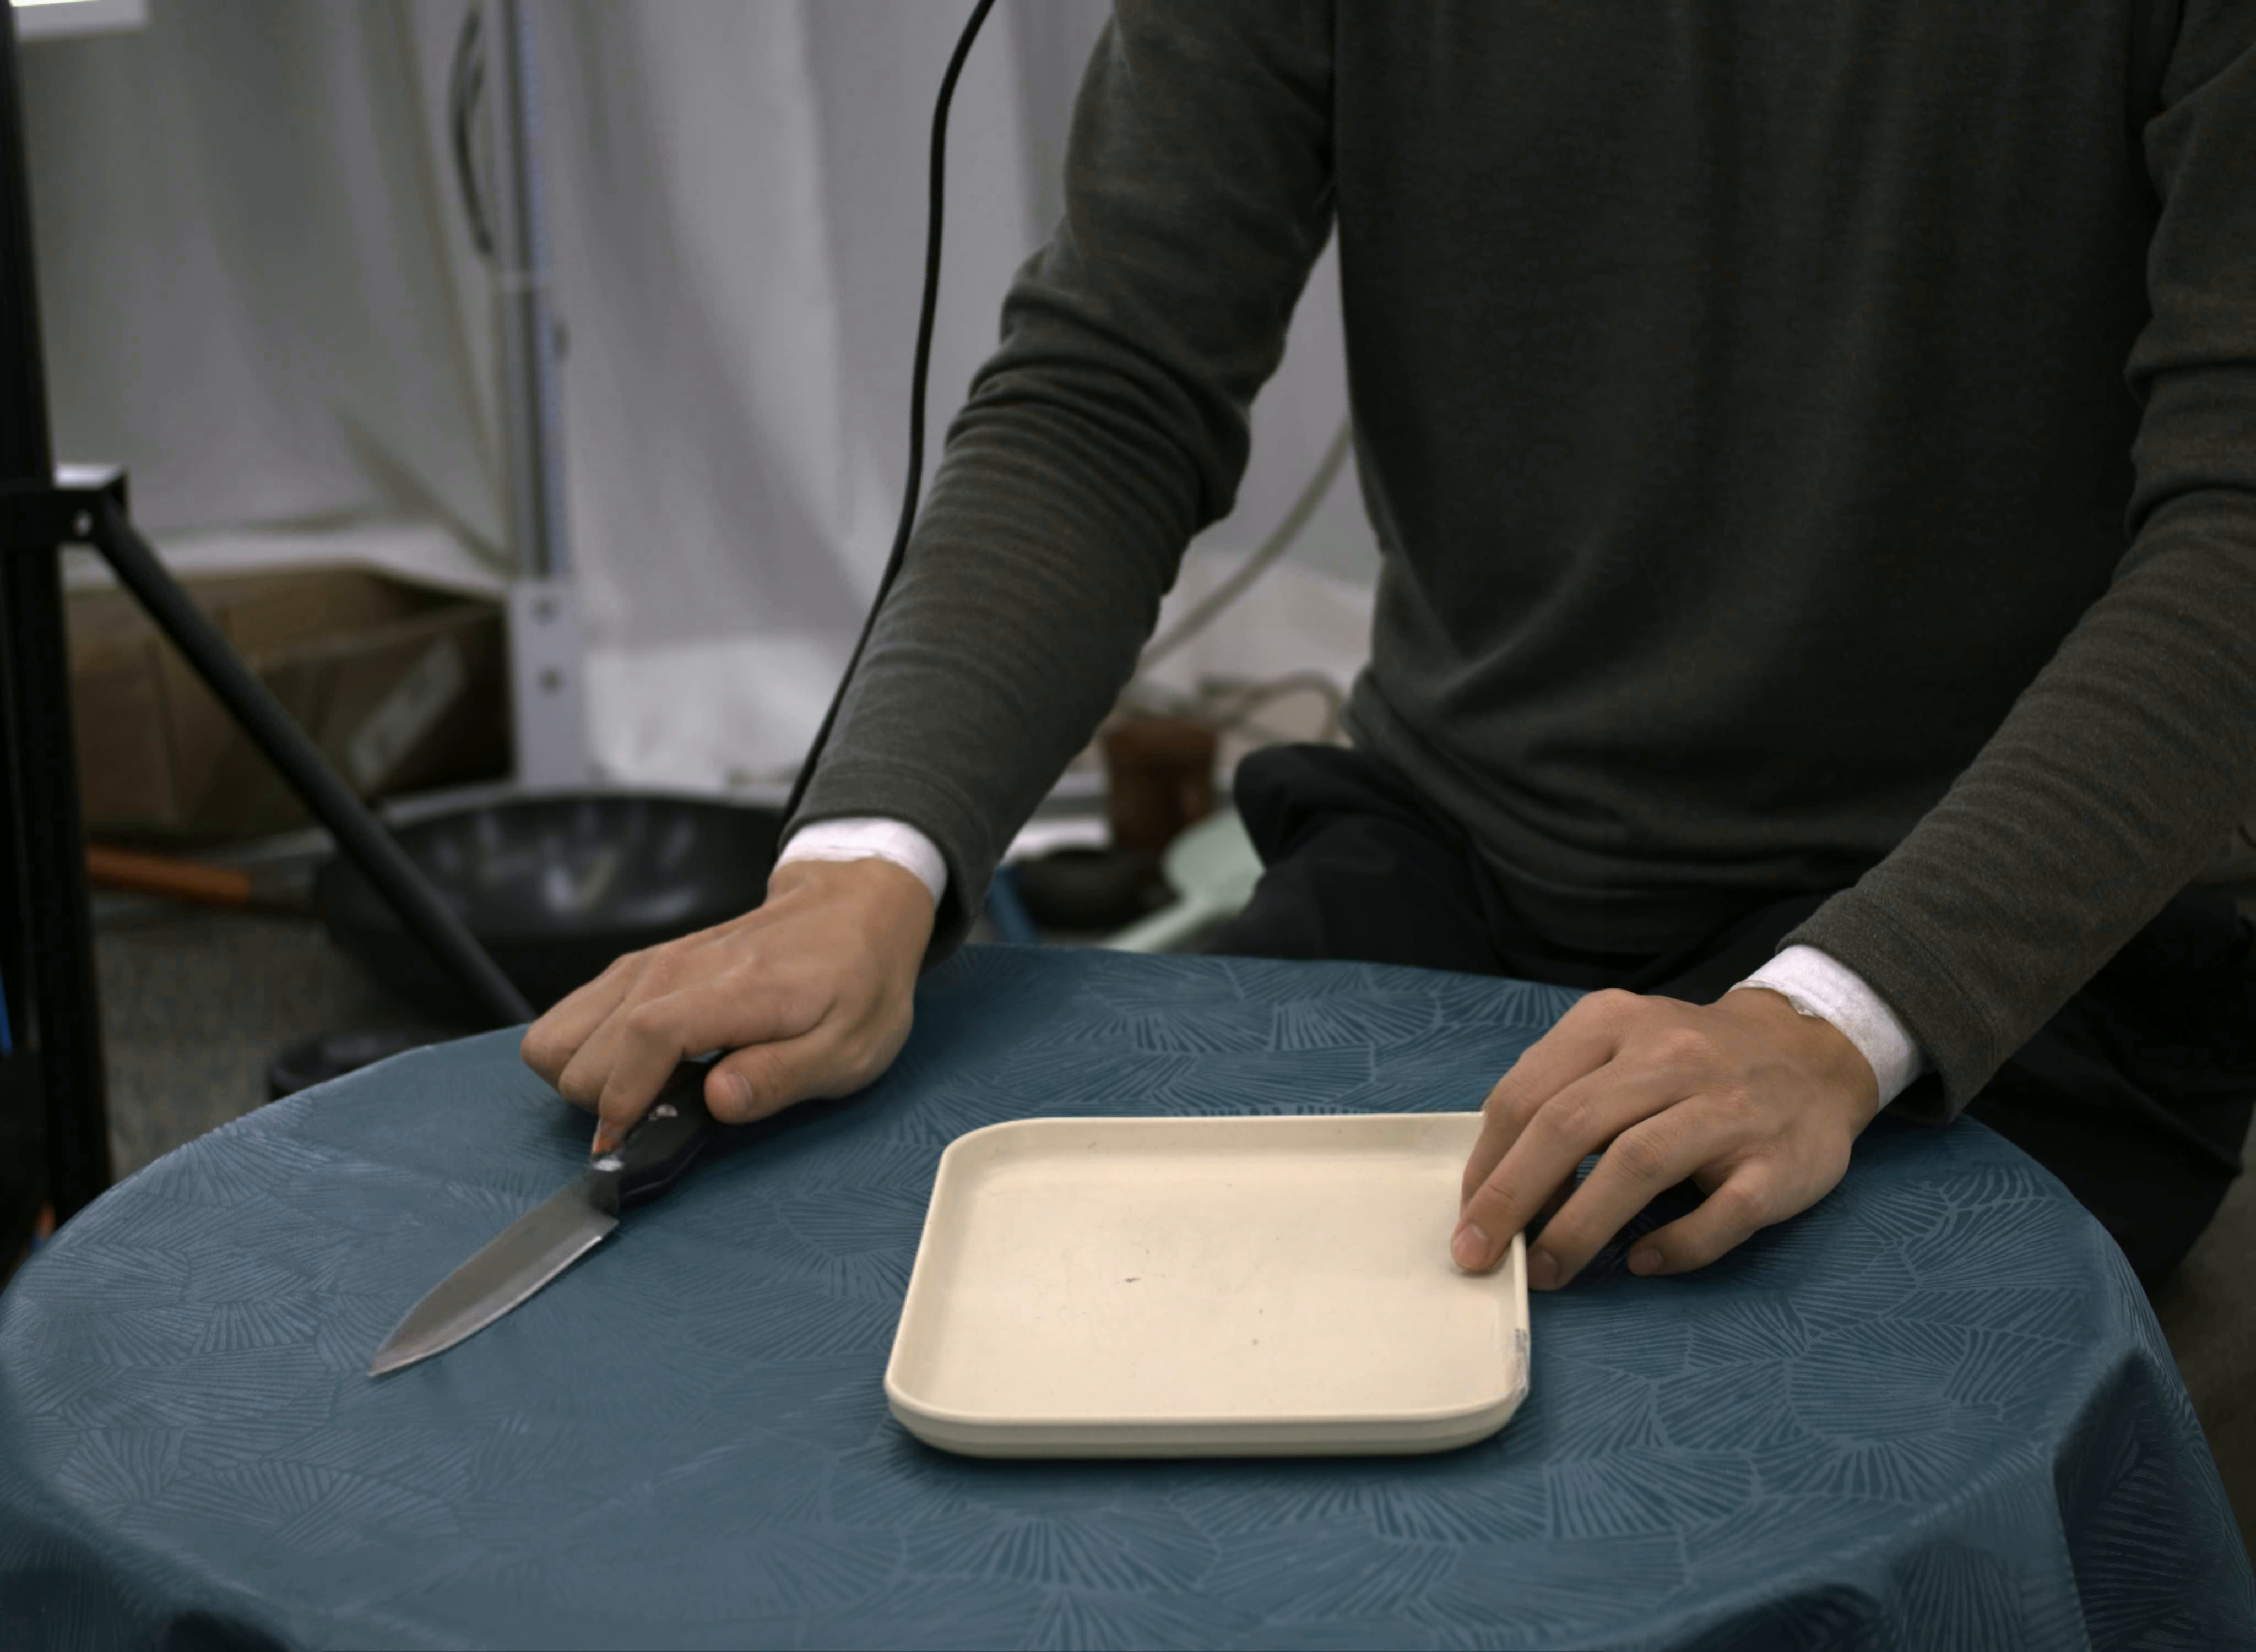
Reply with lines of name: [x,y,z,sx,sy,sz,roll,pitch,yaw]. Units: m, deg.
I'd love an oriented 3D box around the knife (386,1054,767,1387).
knife: [-0.160,0.113,1.543,0.024,0.016,0.235,21,25,13]

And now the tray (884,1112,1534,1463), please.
tray: [0.025,0.126,1.463,0.171,0.017,0.240,-2,16,5]
